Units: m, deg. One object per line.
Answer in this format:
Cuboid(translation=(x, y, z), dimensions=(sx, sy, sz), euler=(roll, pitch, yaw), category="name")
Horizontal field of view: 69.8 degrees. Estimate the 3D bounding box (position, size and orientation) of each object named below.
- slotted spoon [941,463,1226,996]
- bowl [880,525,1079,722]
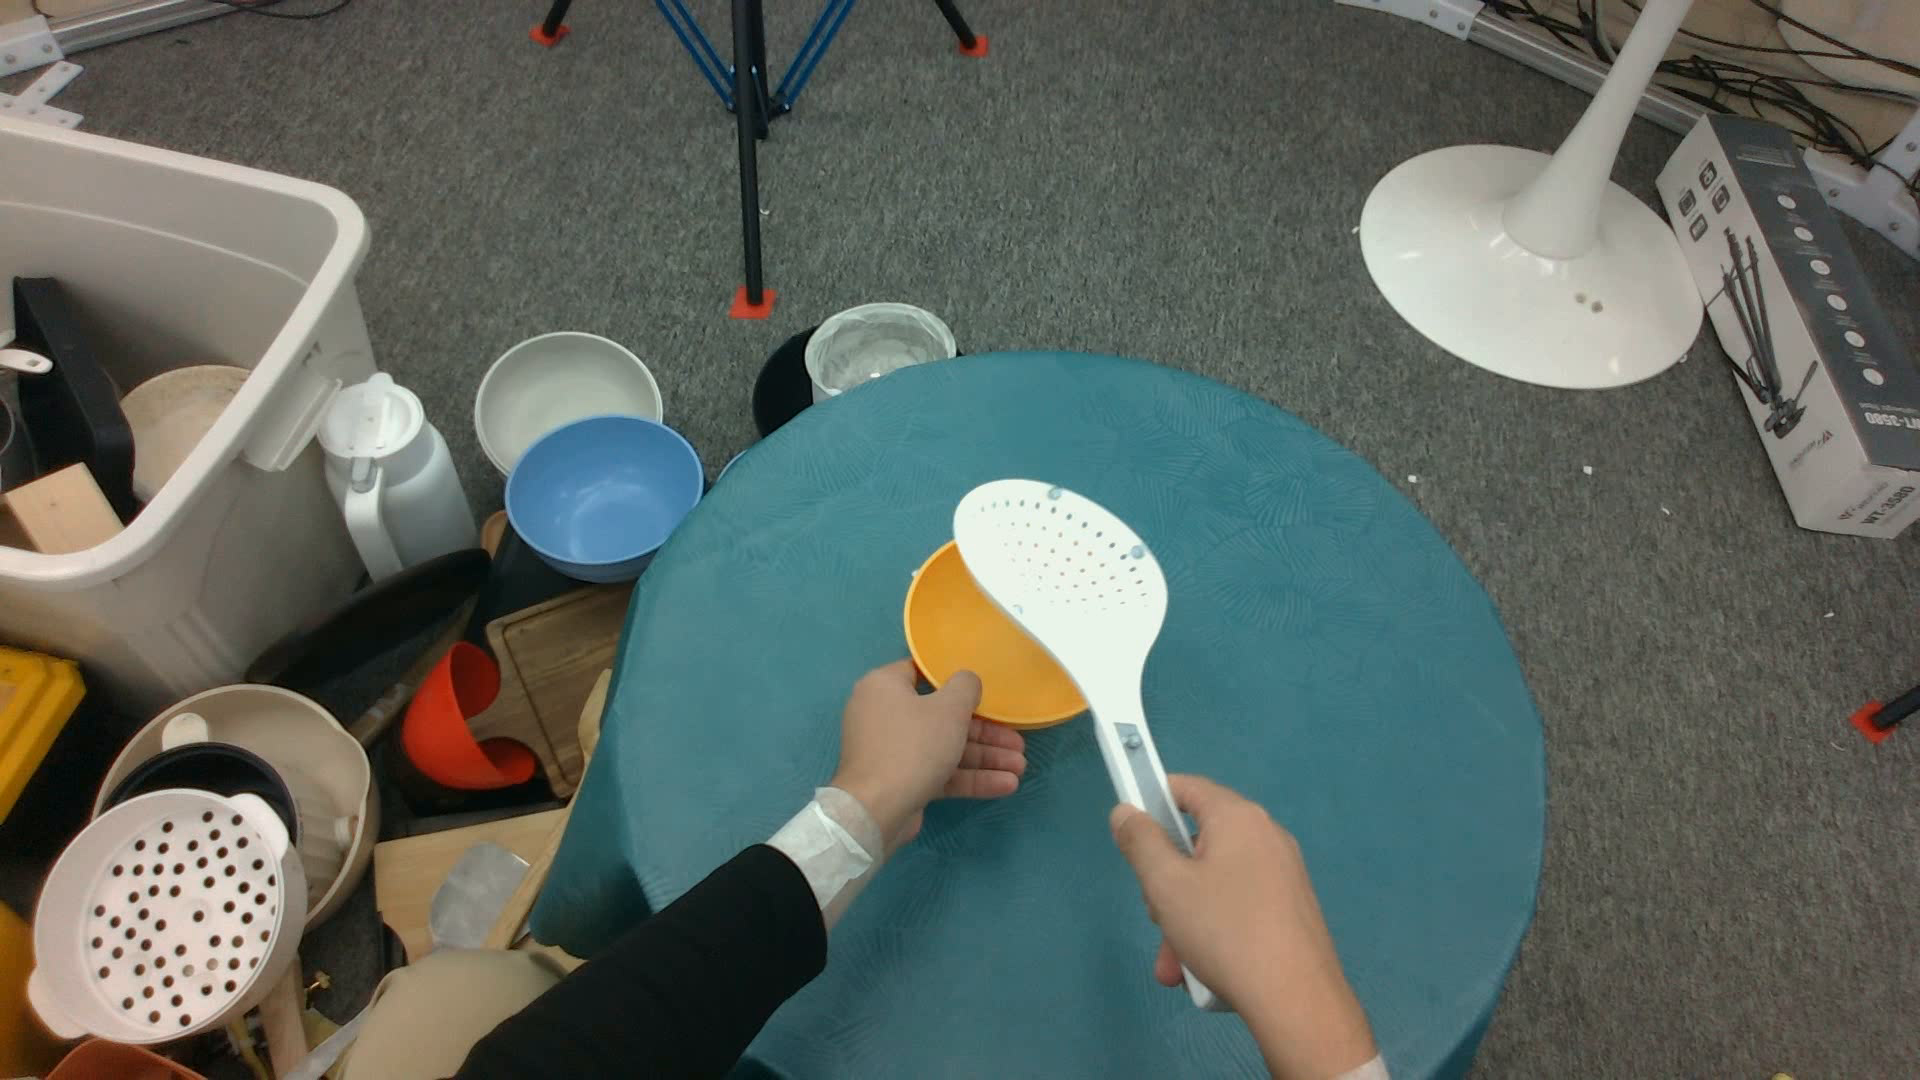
Cuboid(translation=(0.072, 0.082, 0.743), dimensions=(0.136, 0.045, 0.351), euler=(9, 36, -25), category="slotted spoon")
Cuboid(translation=(0.021, 0.061, 0.878), dimensions=(0.145, 0.060, 0.146), euler=(2, 54, -3), category="bowl")
